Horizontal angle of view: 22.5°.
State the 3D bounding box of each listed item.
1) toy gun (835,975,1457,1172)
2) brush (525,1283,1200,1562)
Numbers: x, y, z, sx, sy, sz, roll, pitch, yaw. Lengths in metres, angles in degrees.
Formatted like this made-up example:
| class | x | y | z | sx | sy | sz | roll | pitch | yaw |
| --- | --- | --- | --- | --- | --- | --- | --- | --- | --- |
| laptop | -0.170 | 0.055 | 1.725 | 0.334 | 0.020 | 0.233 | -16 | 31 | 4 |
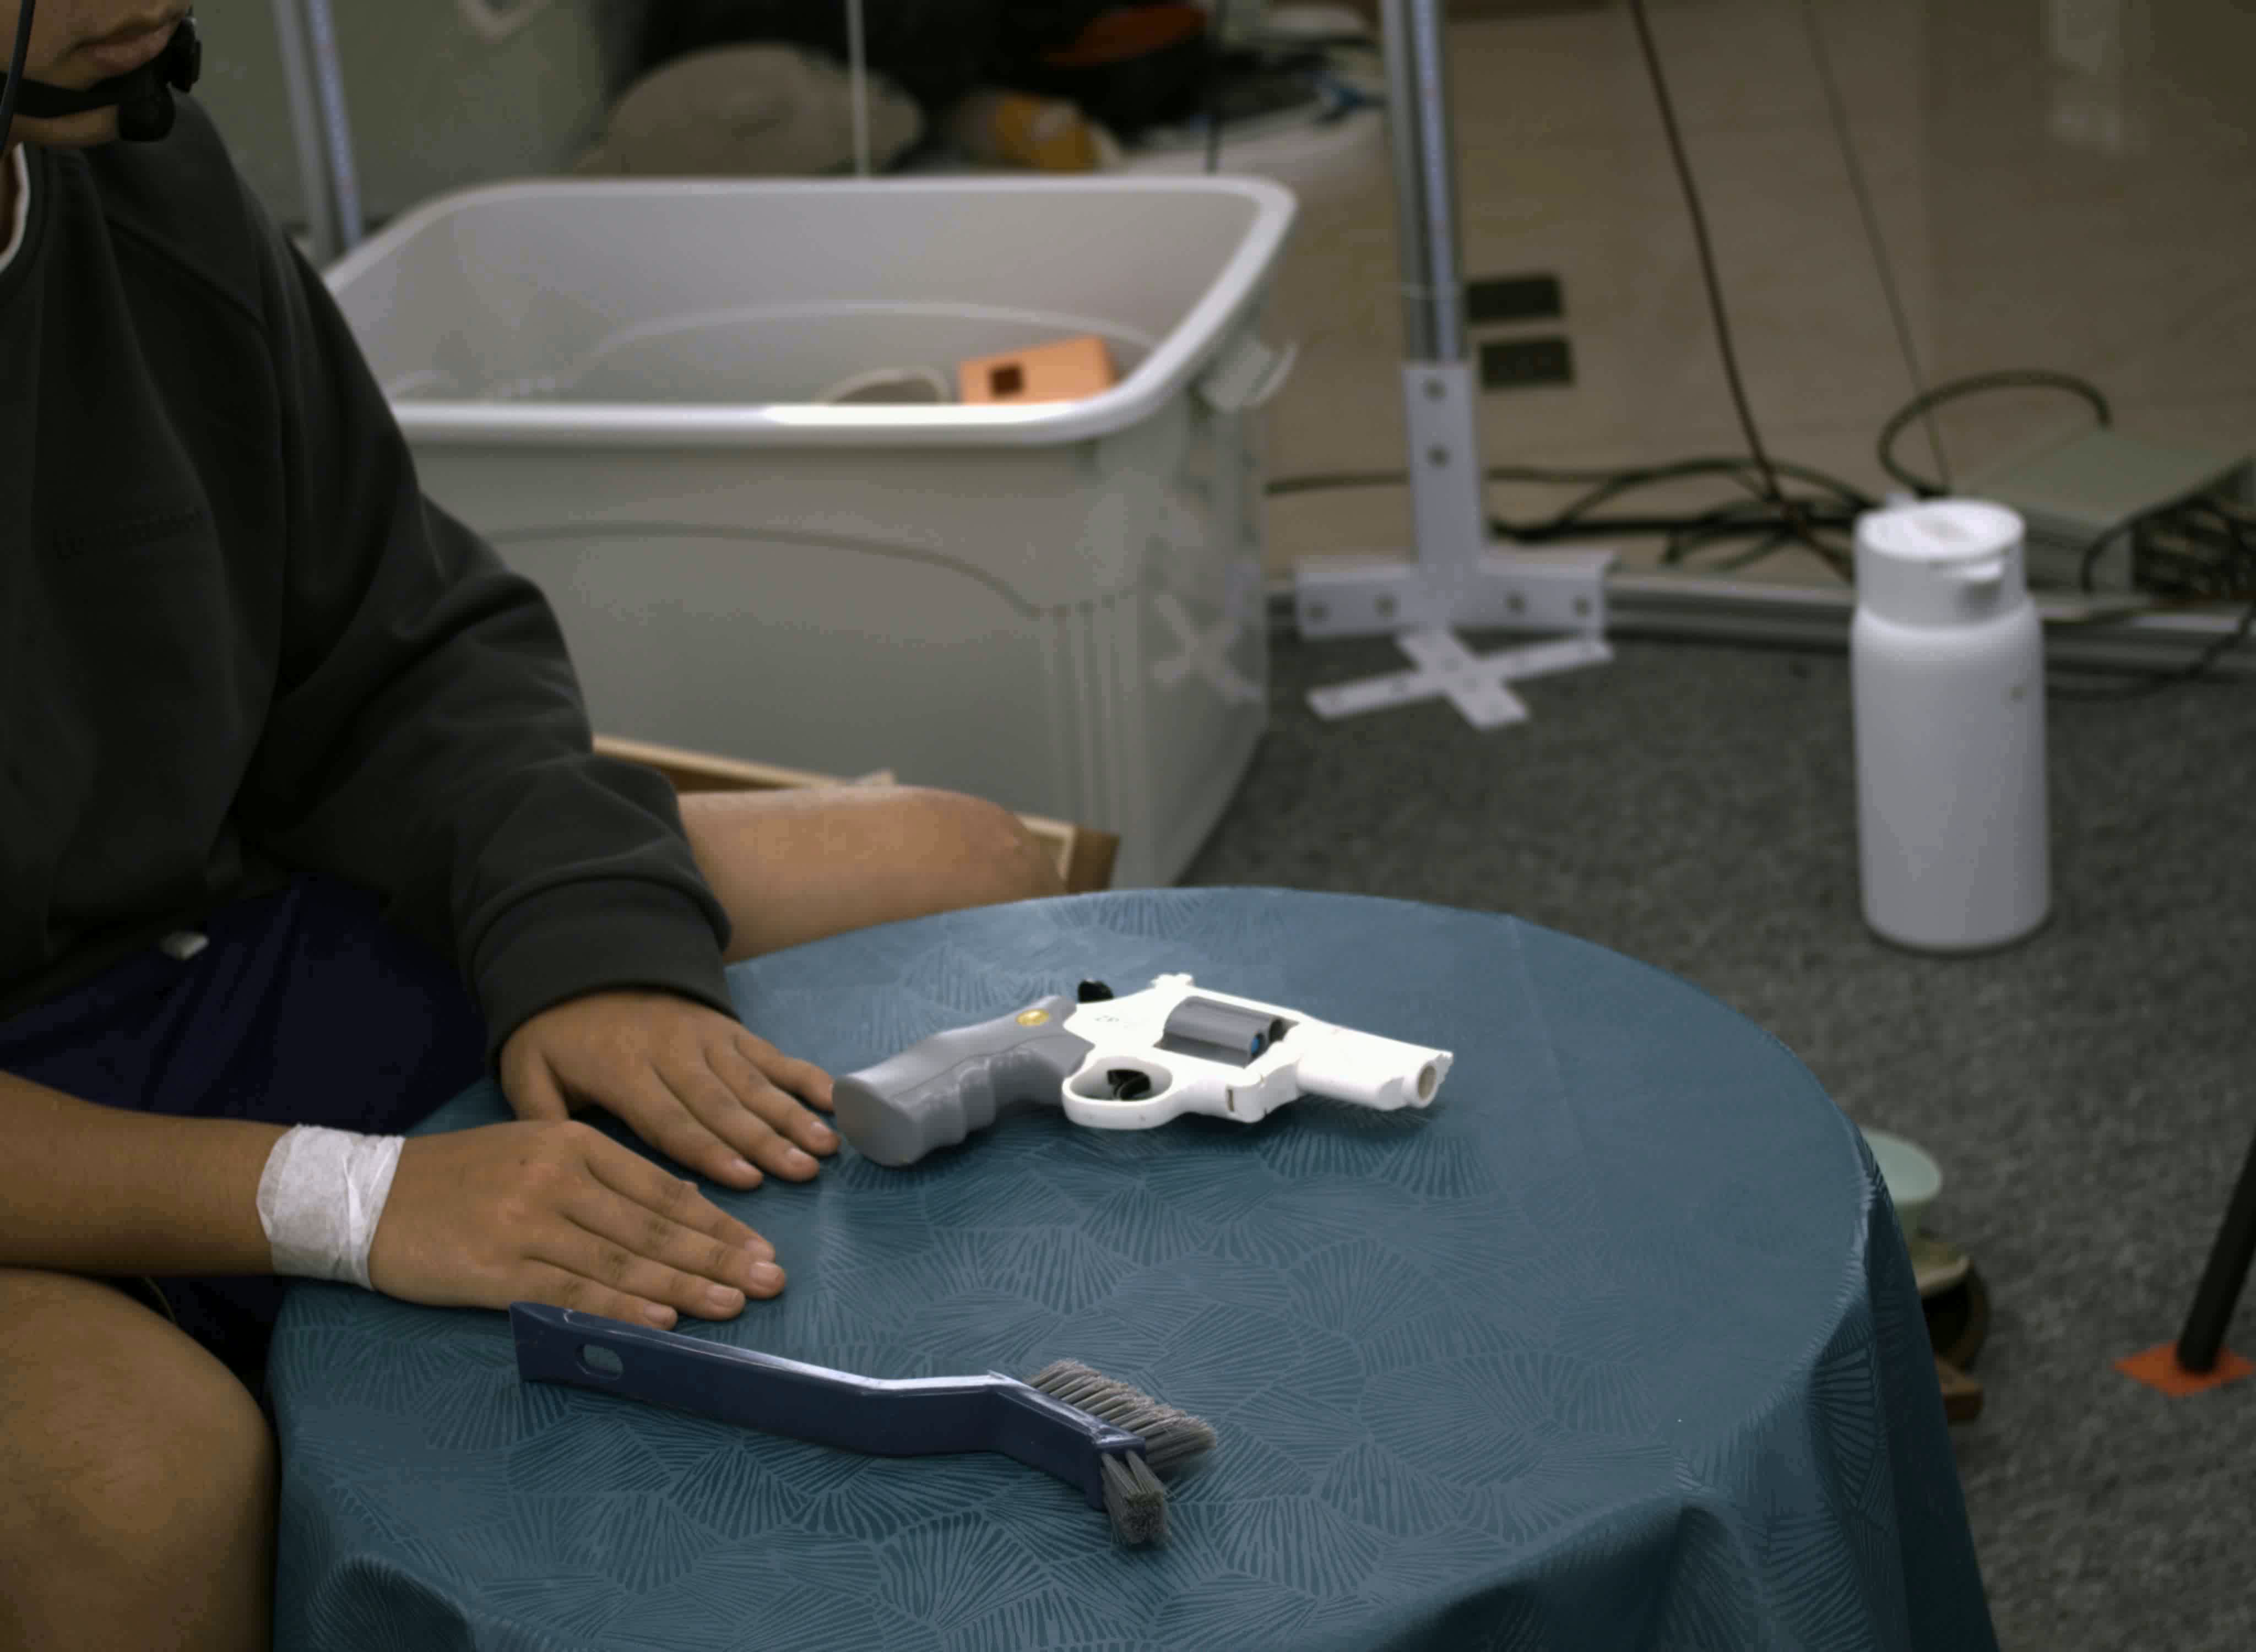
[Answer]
| class | x | y | z | sx | sy | sz | roll | pitch | yaw |
| --- | --- | --- | --- | --- | --- | --- | --- | --- | --- |
| toy gun | 0.005 | 0.100 | 2.185 | 0.208 | 0.039 | 0.140 | 10 | 31 | 33 |
| brush | -0.105 | 0.205 | 1.992 | 0.272 | 0.034 | 0.094 | 6 | 27 | 23 |
